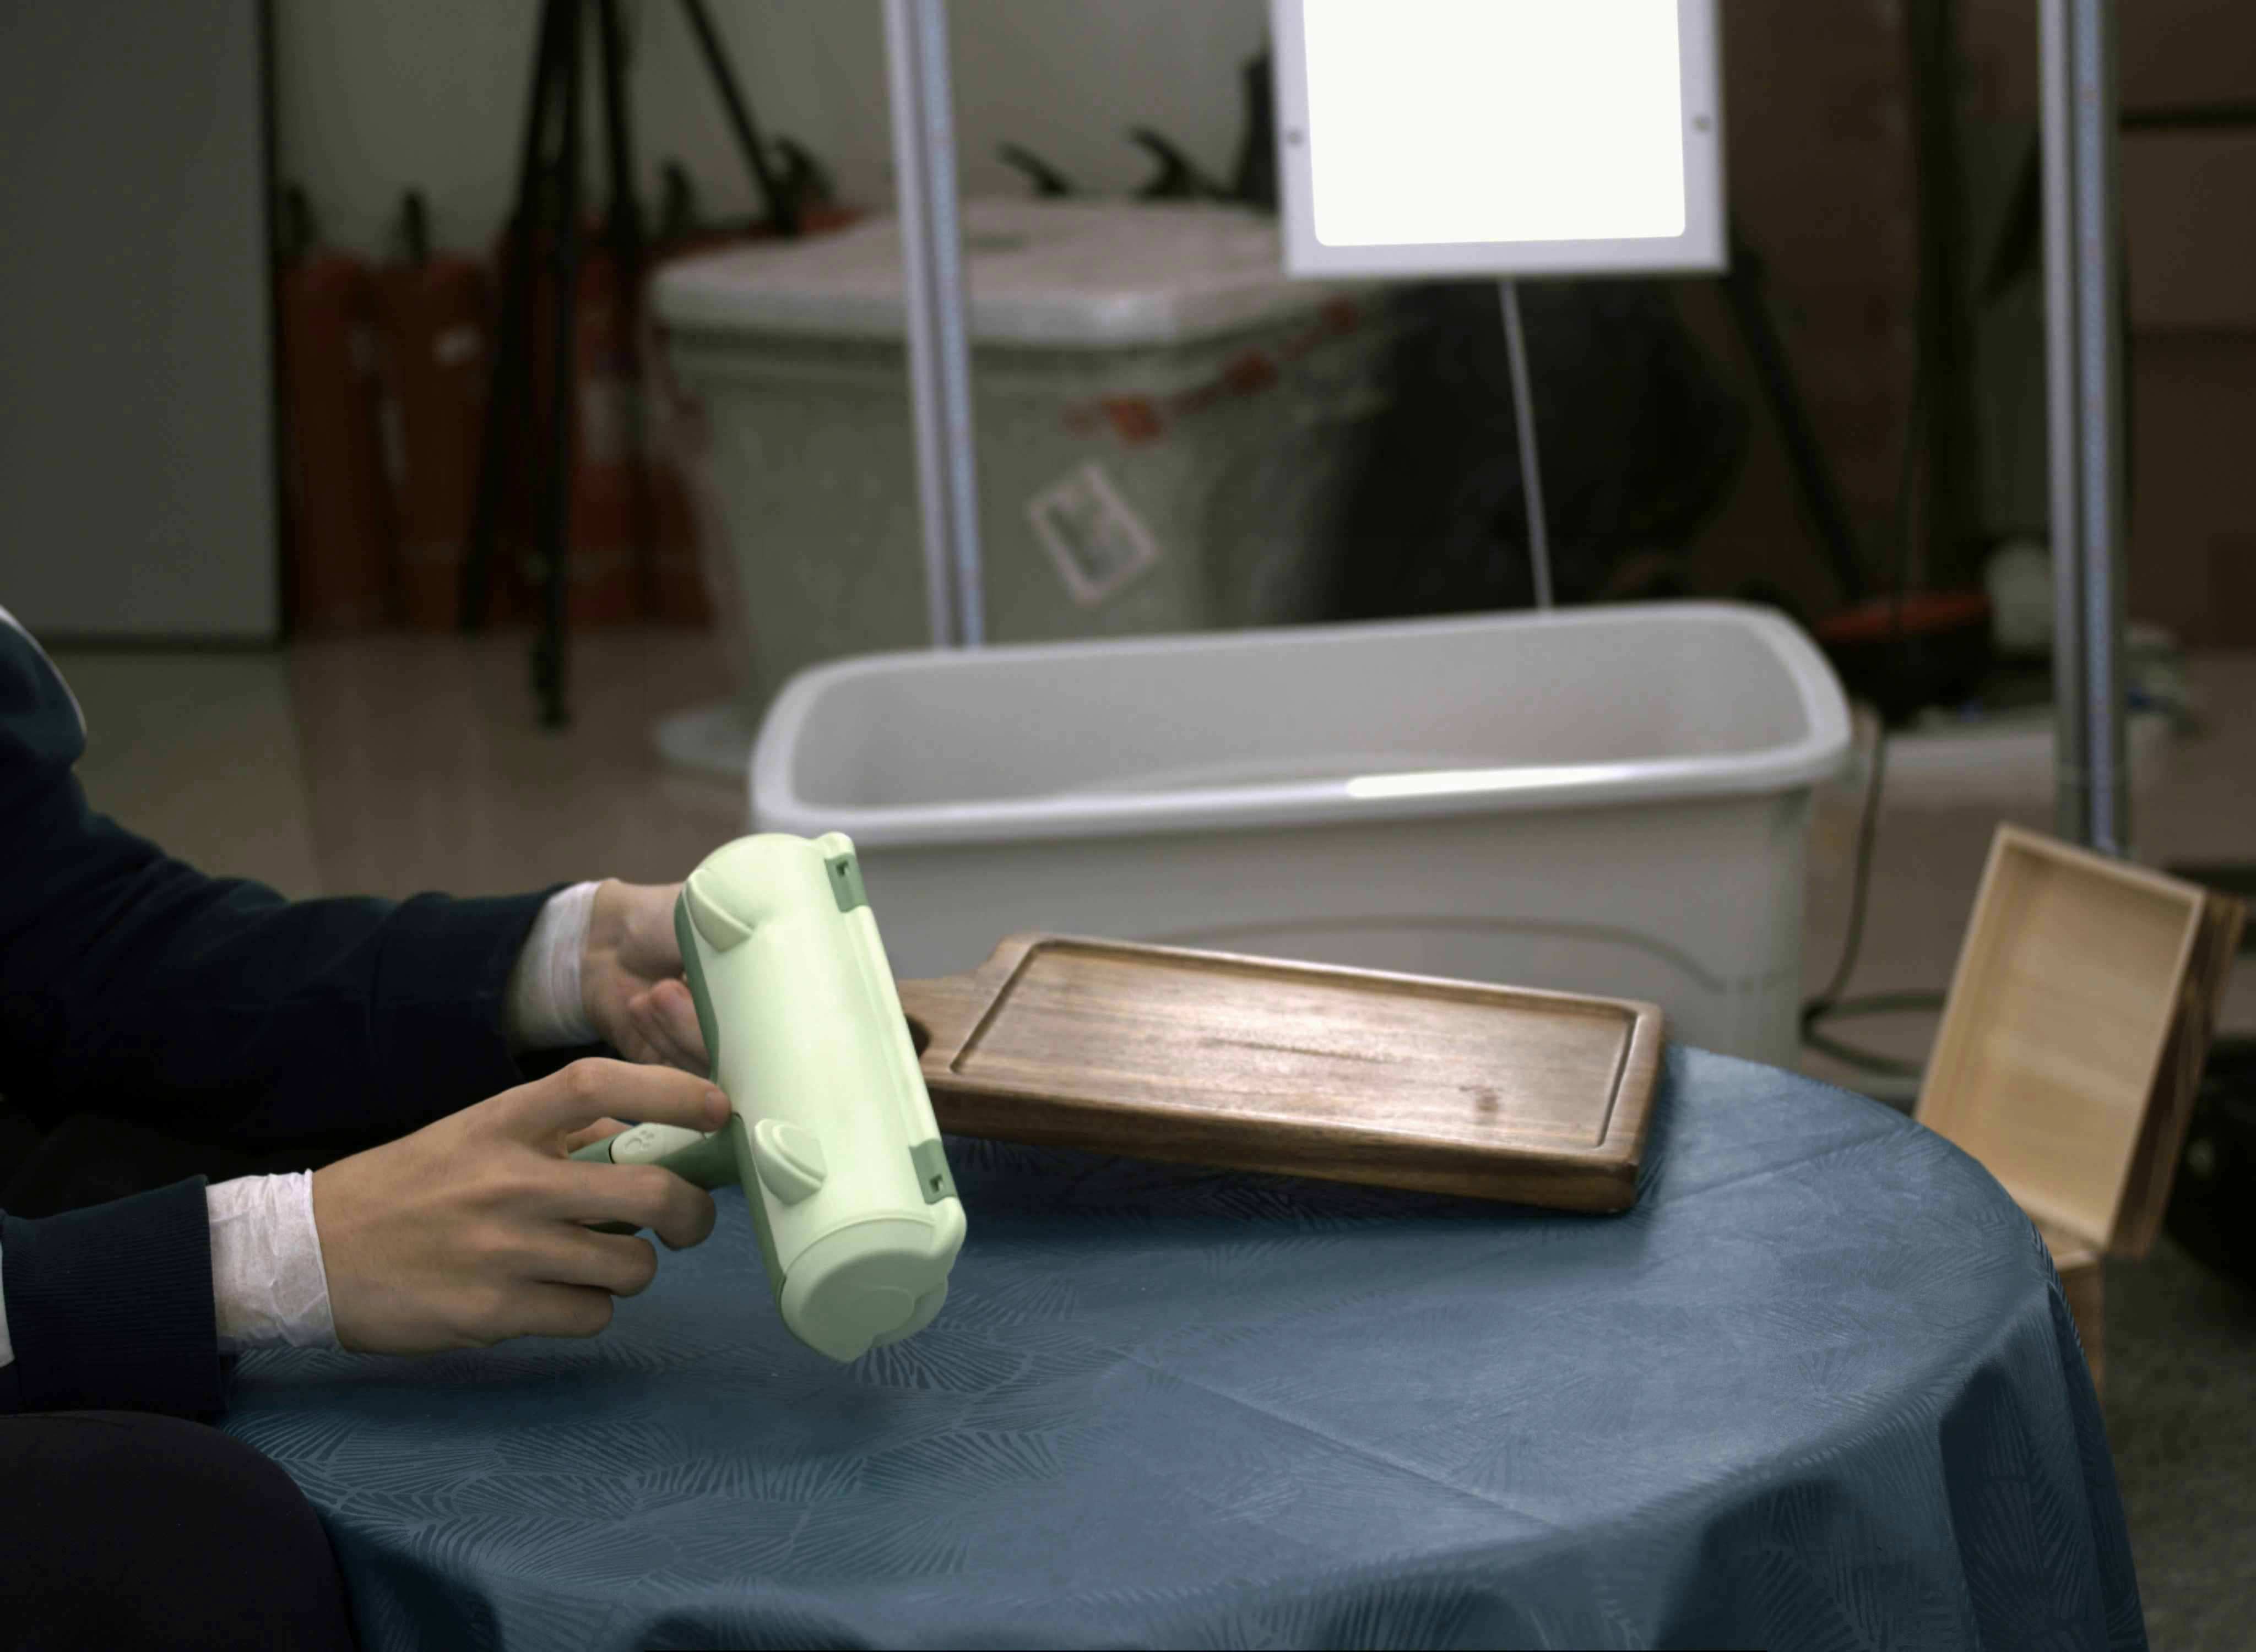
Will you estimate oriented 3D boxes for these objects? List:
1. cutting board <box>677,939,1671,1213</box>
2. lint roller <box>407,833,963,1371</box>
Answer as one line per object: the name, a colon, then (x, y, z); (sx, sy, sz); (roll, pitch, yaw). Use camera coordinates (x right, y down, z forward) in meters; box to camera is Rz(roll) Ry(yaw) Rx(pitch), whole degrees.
cutting board: (0.014, 0.080, 1.939); (0.354, 0.023, 0.199); (5, 15, 10)
lint roller: (-0.155, 0.099, 1.747); (0.183, 0.082, 0.199); (-22, 44, 4)
